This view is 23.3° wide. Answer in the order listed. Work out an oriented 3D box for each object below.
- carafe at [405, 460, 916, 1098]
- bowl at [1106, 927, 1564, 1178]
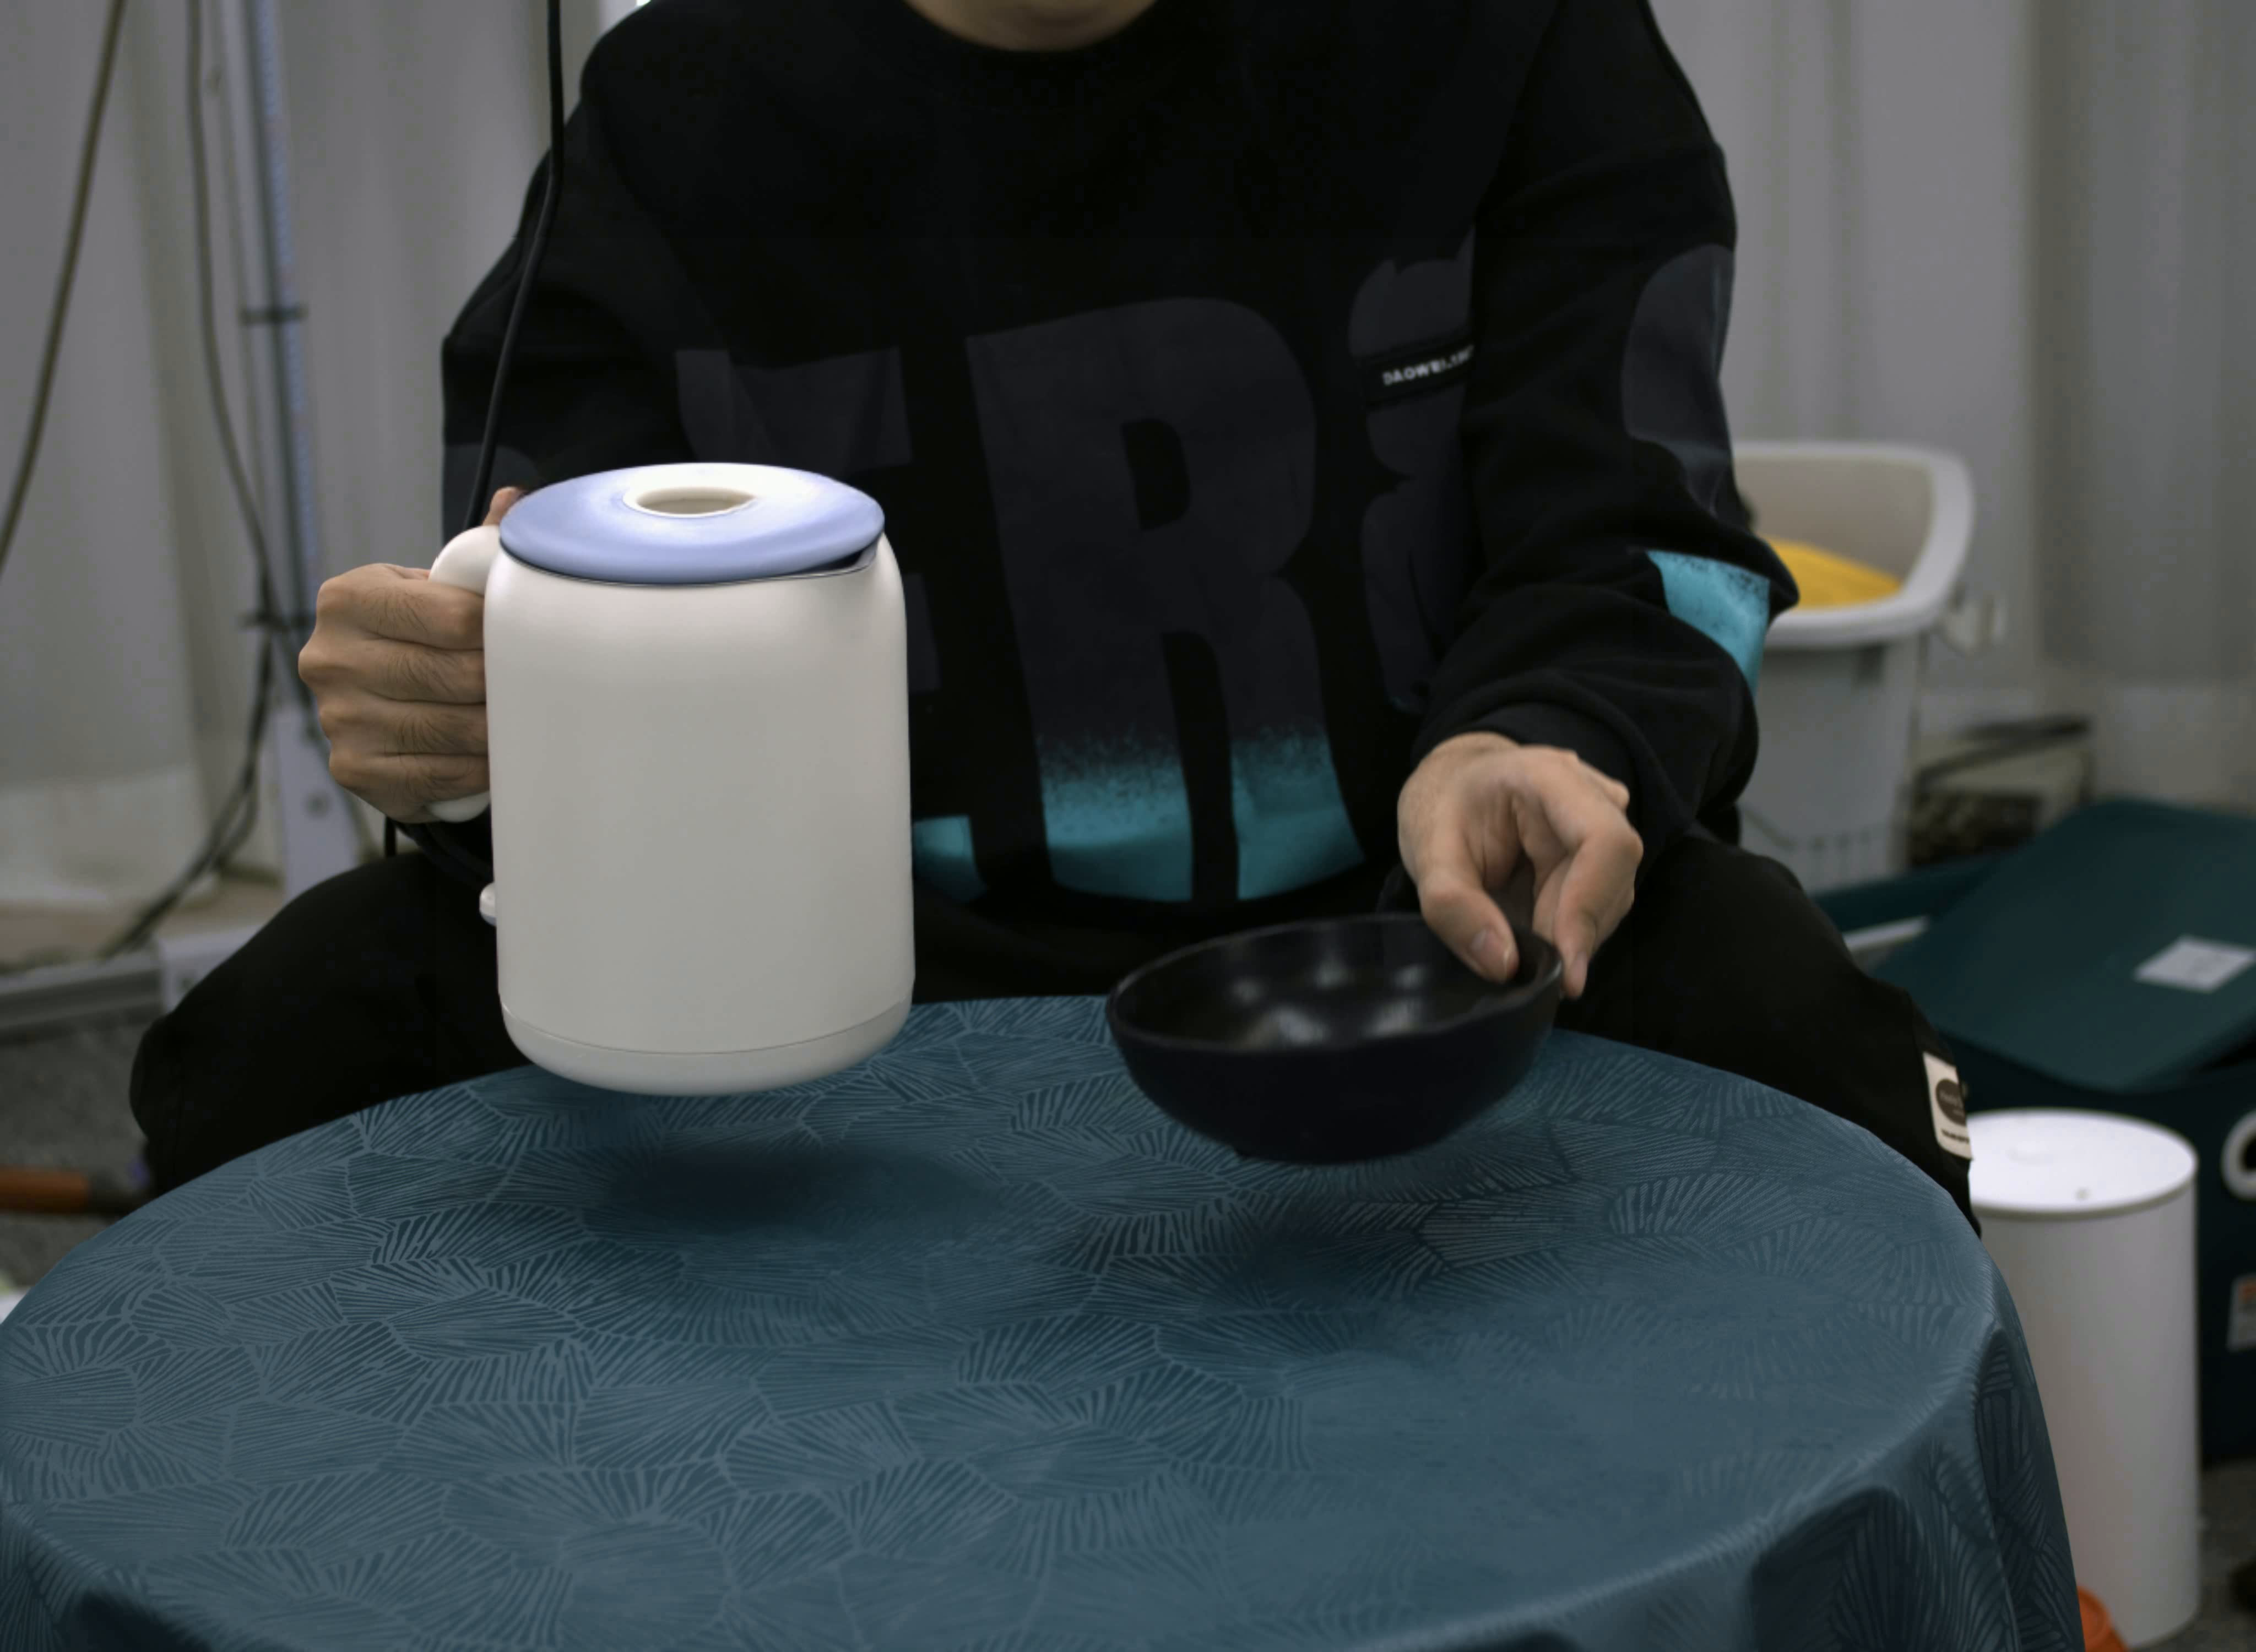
[{"bbox_3d":[-0.153,-0.019,1.717,0.192,0.182,0.132,9,18,36],"label":"carafe"},{"bbox_3d":[0.065,0.072,1.647,0.139,0.049,0.141,-8,12,1],"label":"bowl"}]
